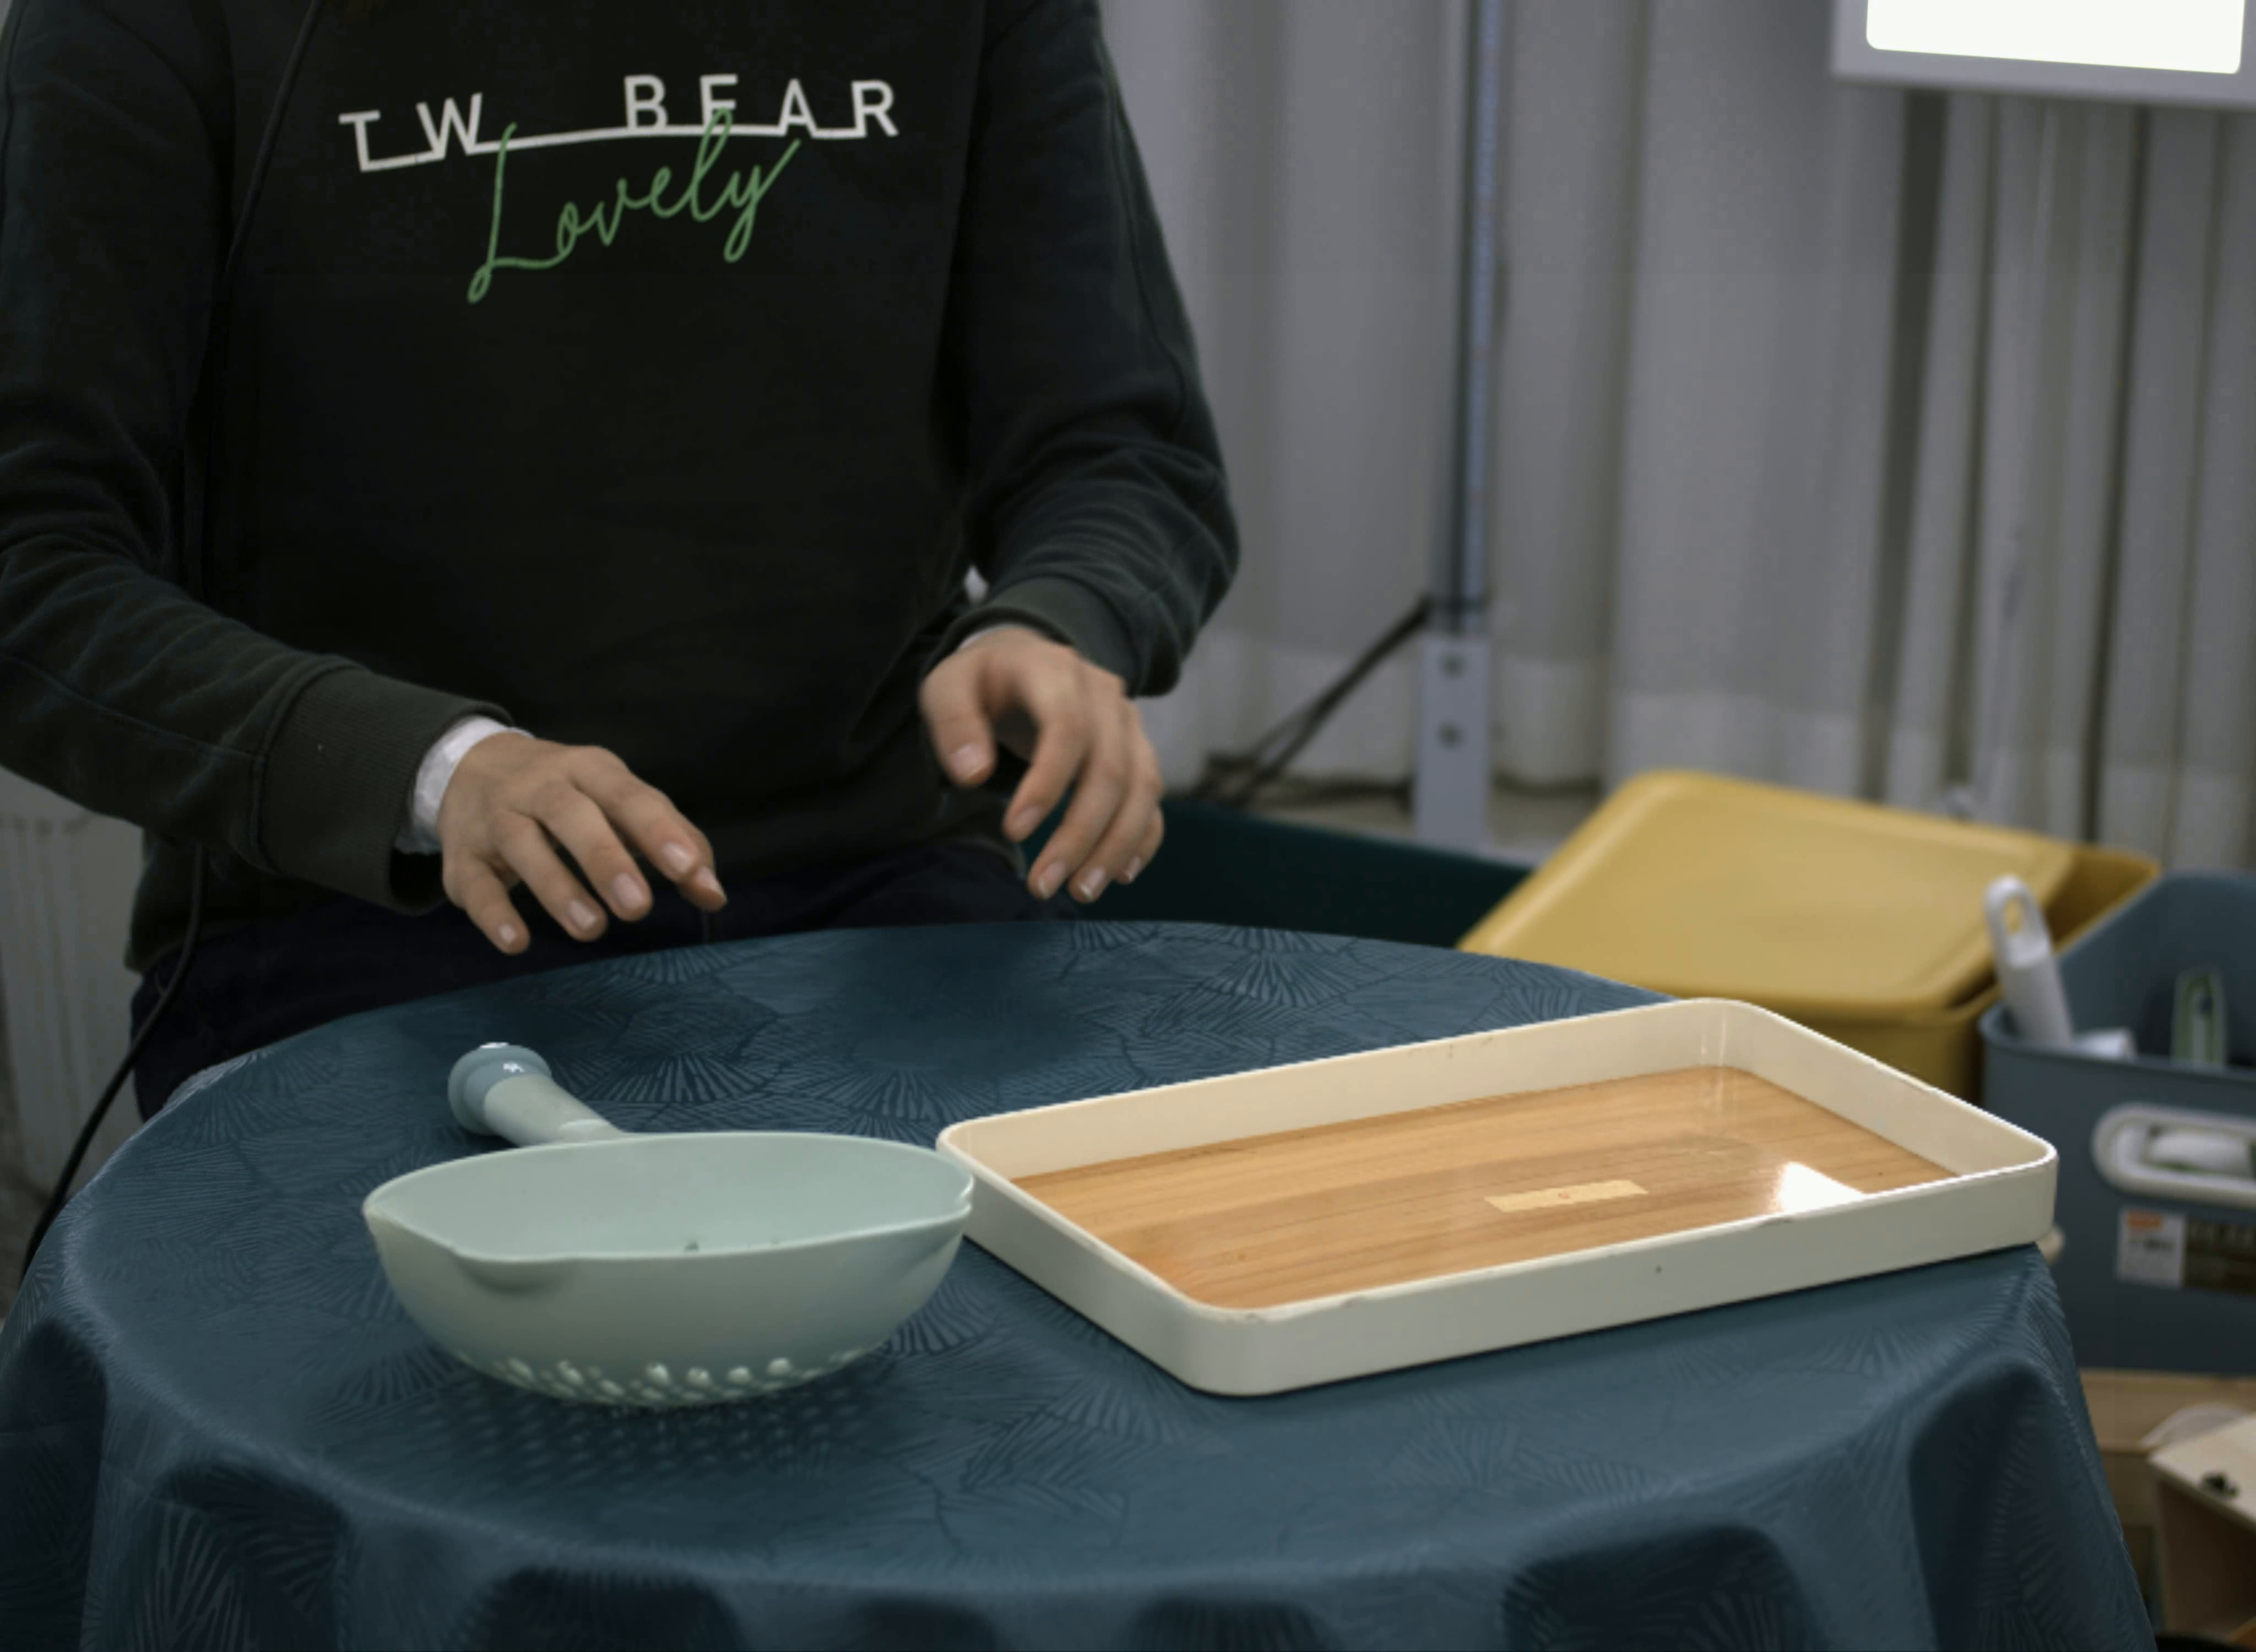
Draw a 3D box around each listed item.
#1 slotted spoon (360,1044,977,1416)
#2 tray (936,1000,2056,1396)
[{"bbox_3d":[-0.155,0.101,1.541,0.170,0.076,0.355,-3,16,-18],"label":"slotted spoon"},{"bbox_3d":[0.111,0.109,1.597,0.301,0.027,0.189,-7,18,-28],"label":"tray"}]
